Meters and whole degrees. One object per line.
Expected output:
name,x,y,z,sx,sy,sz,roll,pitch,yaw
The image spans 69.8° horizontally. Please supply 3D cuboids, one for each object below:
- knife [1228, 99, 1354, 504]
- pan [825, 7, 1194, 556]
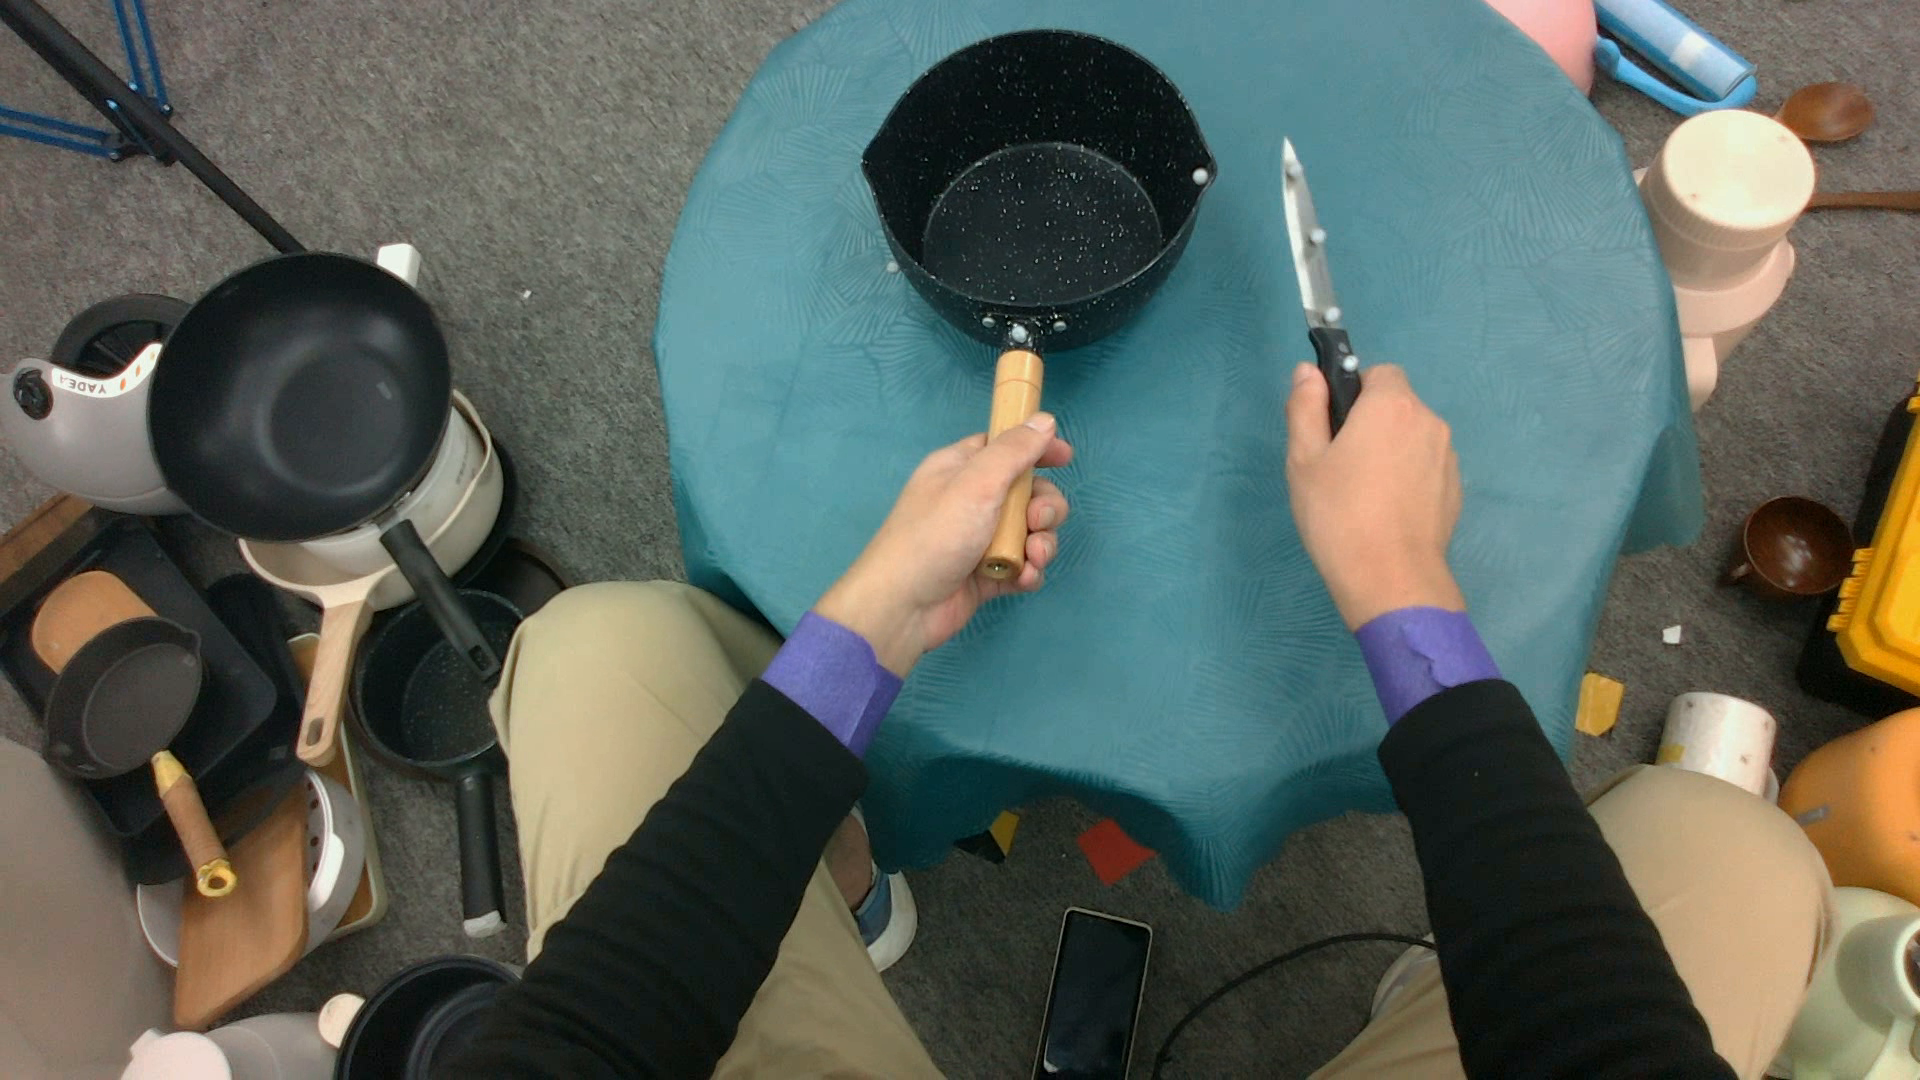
knife,0.173,-0.132,0.731,0.024,0.016,0.238,-2,72,-28
pan,0.023,-0.138,0.767,0.207,0.108,0.344,2,68,5
